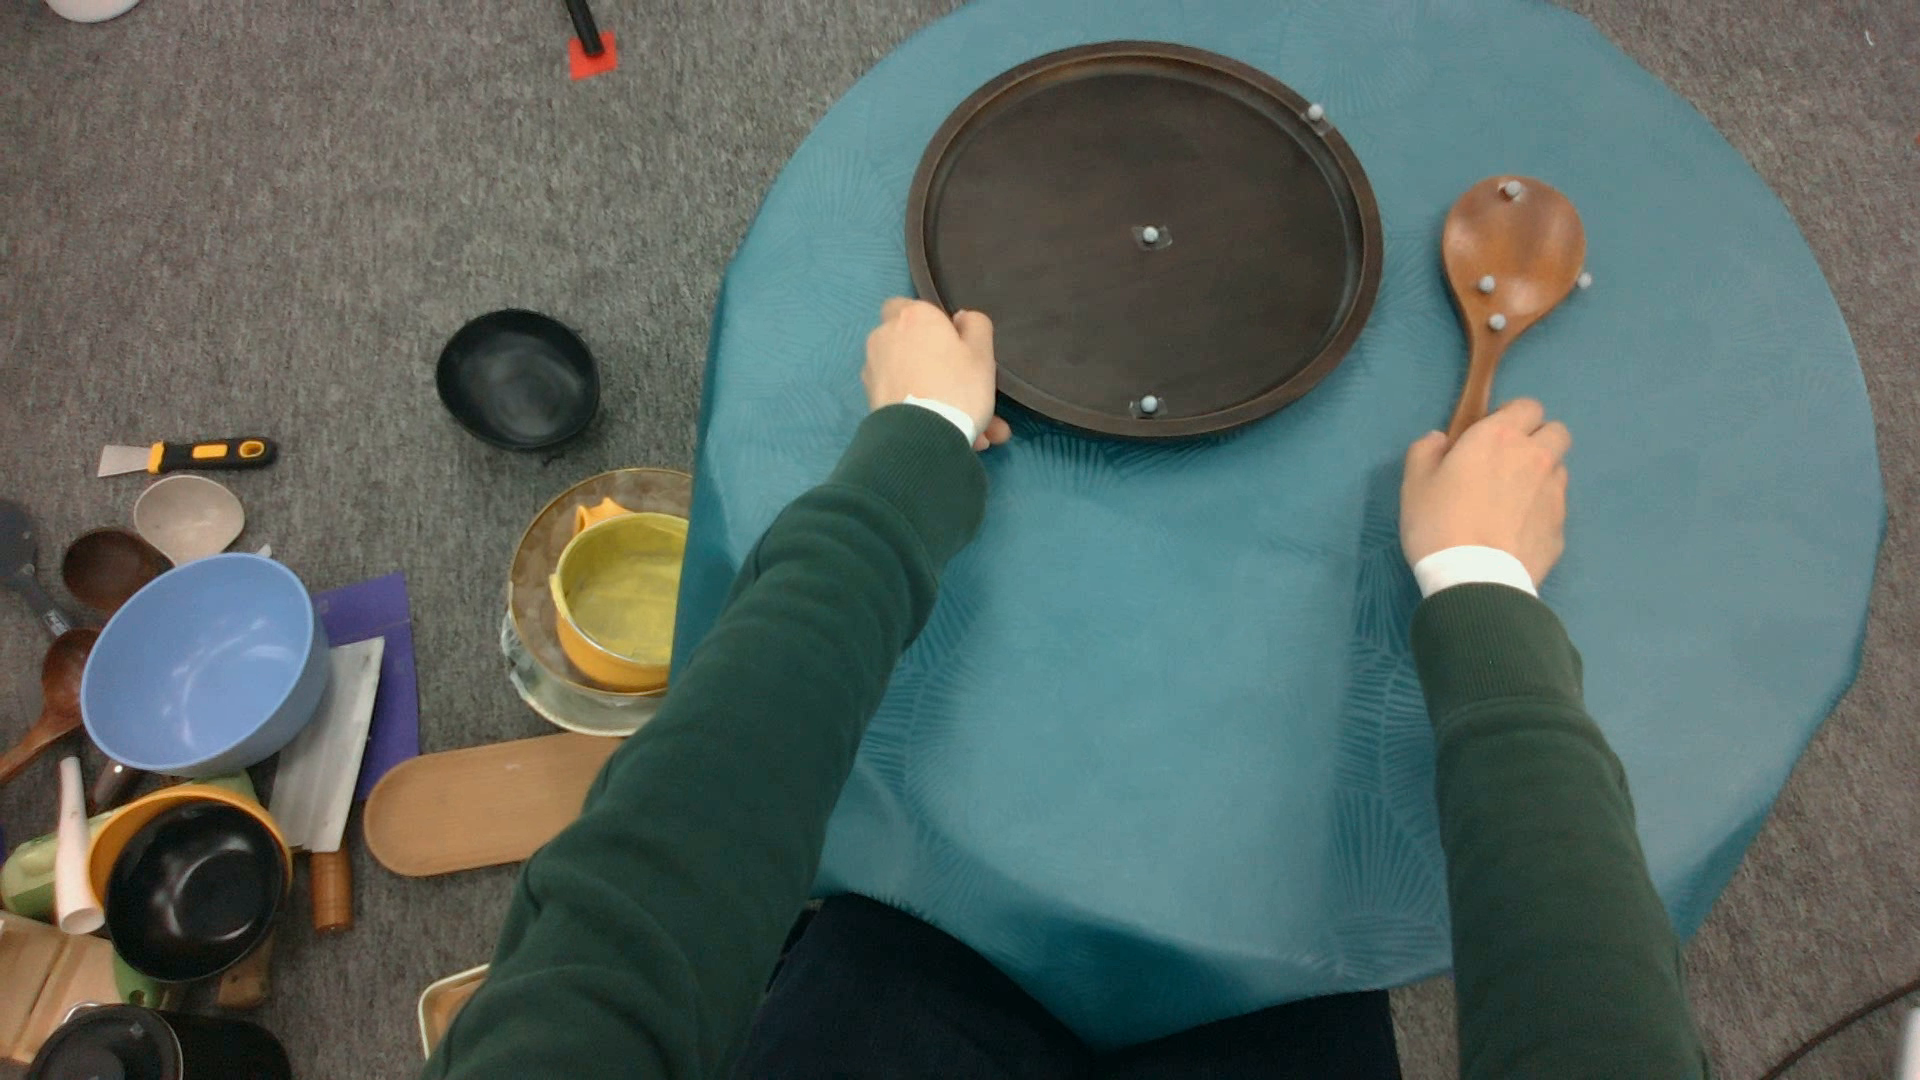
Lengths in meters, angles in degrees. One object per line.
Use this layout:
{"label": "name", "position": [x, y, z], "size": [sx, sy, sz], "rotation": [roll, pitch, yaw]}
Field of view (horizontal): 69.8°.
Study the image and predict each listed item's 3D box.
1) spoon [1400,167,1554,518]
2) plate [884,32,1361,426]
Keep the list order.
{"label": "spoon", "position": [0.260, -0.106, 0.716], "size": [0.075, 0.017, 0.216], "rotation": [17, 67, 7]}
{"label": "plate", "position": [0.086, -0.170, 0.737], "size": [0.255, 0.029, 0.255], "rotation": [1, 64, -2]}
